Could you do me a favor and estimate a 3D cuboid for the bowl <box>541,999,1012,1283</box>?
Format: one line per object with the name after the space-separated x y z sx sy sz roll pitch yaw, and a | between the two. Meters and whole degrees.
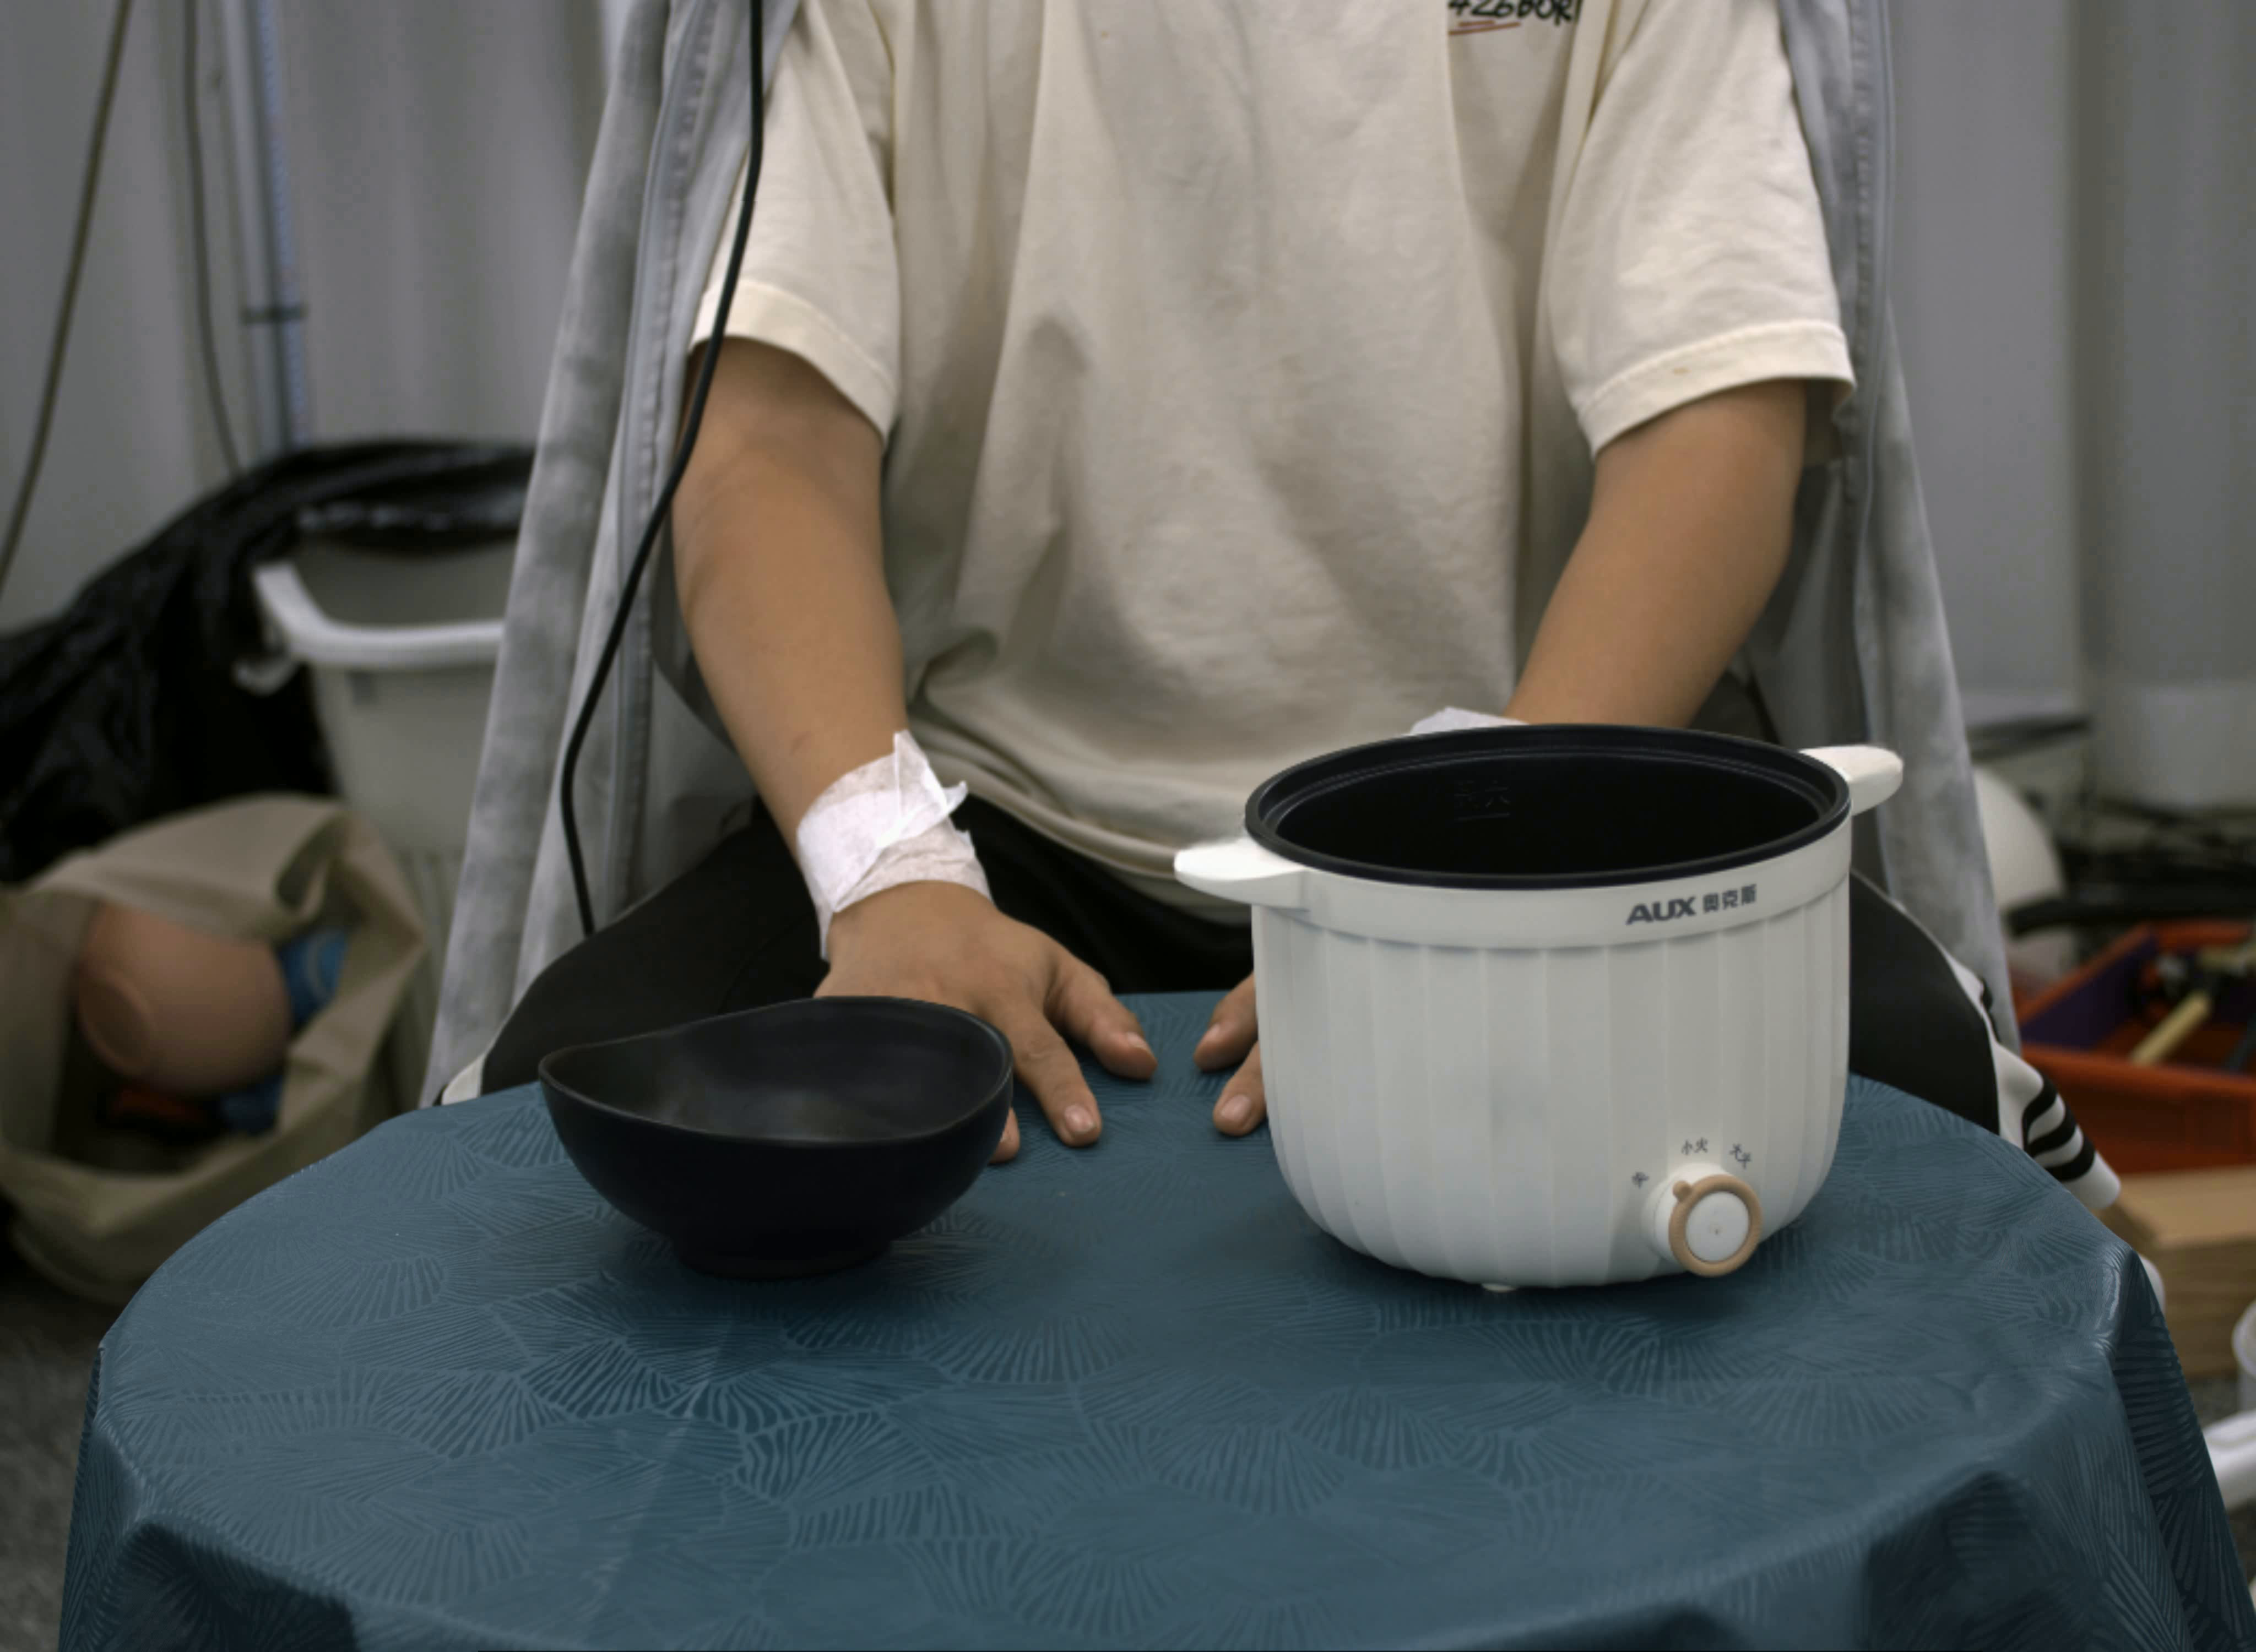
-0.108 0.100 1.674 0.137 0.066 0.171 -11 16 -32 | bowl

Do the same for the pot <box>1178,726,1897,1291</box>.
0.131 0.057 1.647 0.239 0.142 0.192 -10 12 -22 | pot
